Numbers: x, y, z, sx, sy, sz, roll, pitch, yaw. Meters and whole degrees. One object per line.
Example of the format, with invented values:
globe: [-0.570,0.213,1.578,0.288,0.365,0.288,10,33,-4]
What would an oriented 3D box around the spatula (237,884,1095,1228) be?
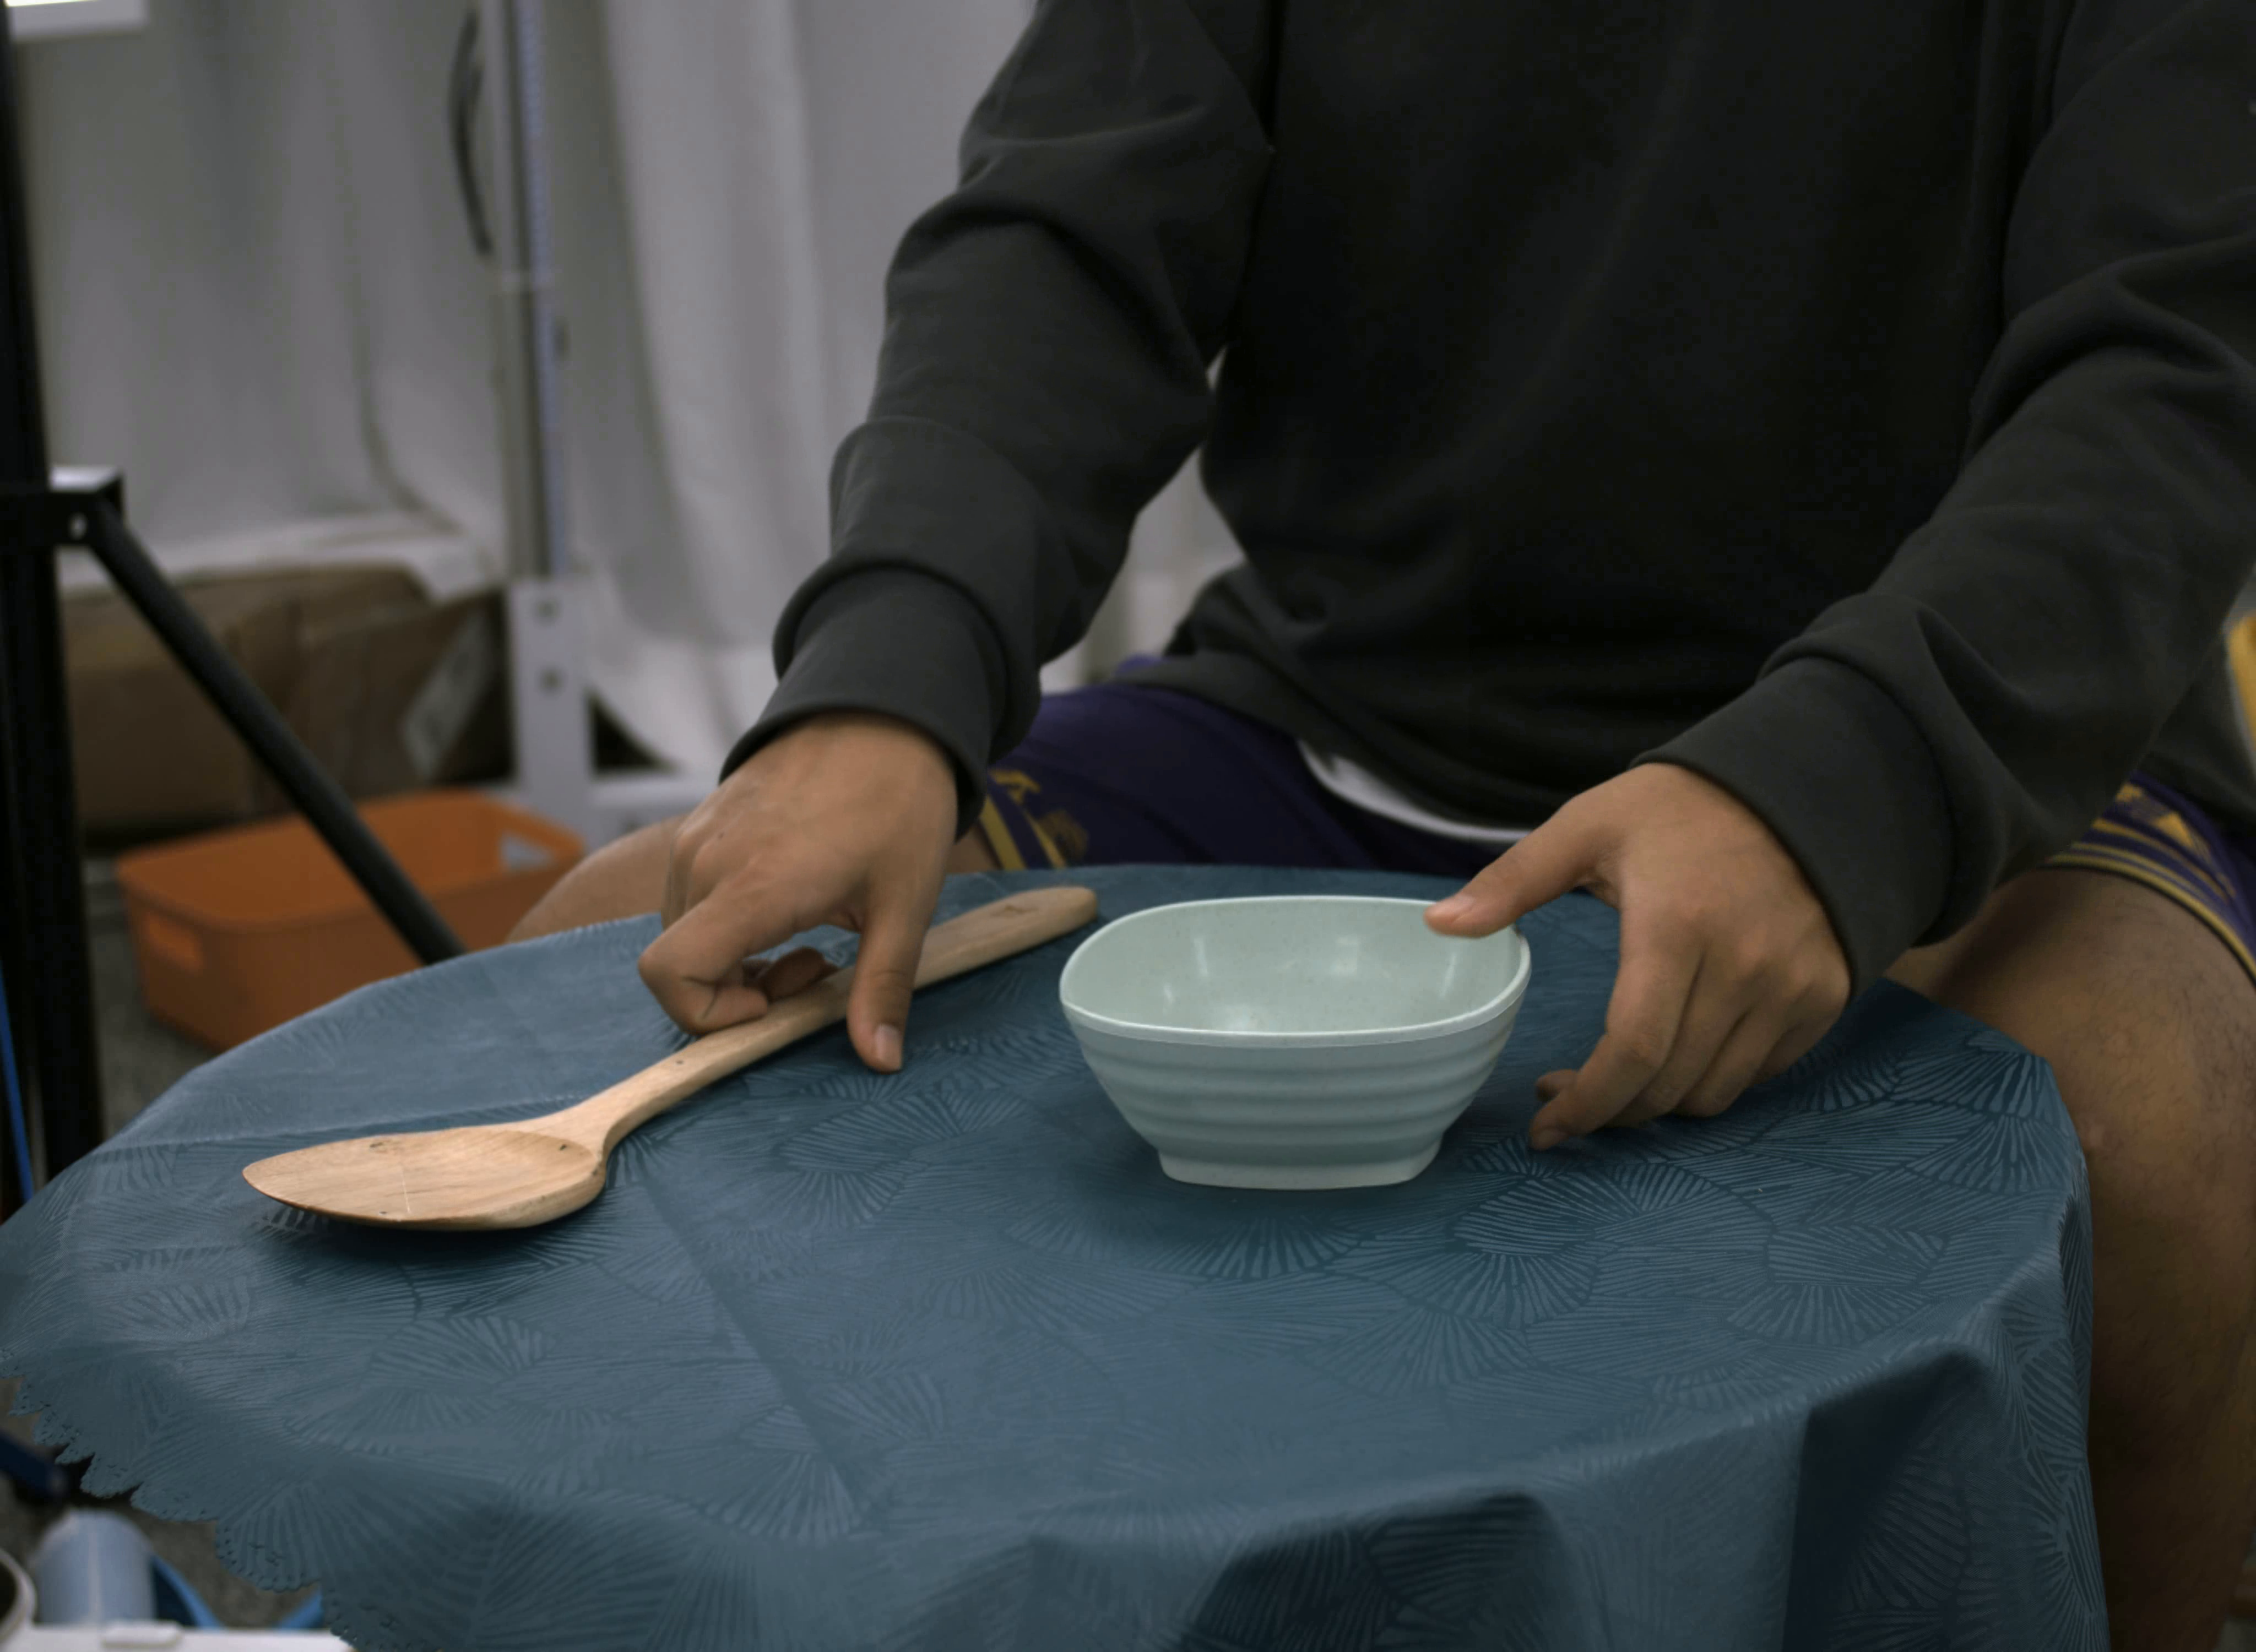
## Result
spatula: [-0.126,0.068,1.692,0.097,0.018,0.383,10,20,32]

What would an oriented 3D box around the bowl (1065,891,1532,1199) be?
bowl: [0.052,0.069,1.588,0.151,0.058,0.152,-3,18,0]
